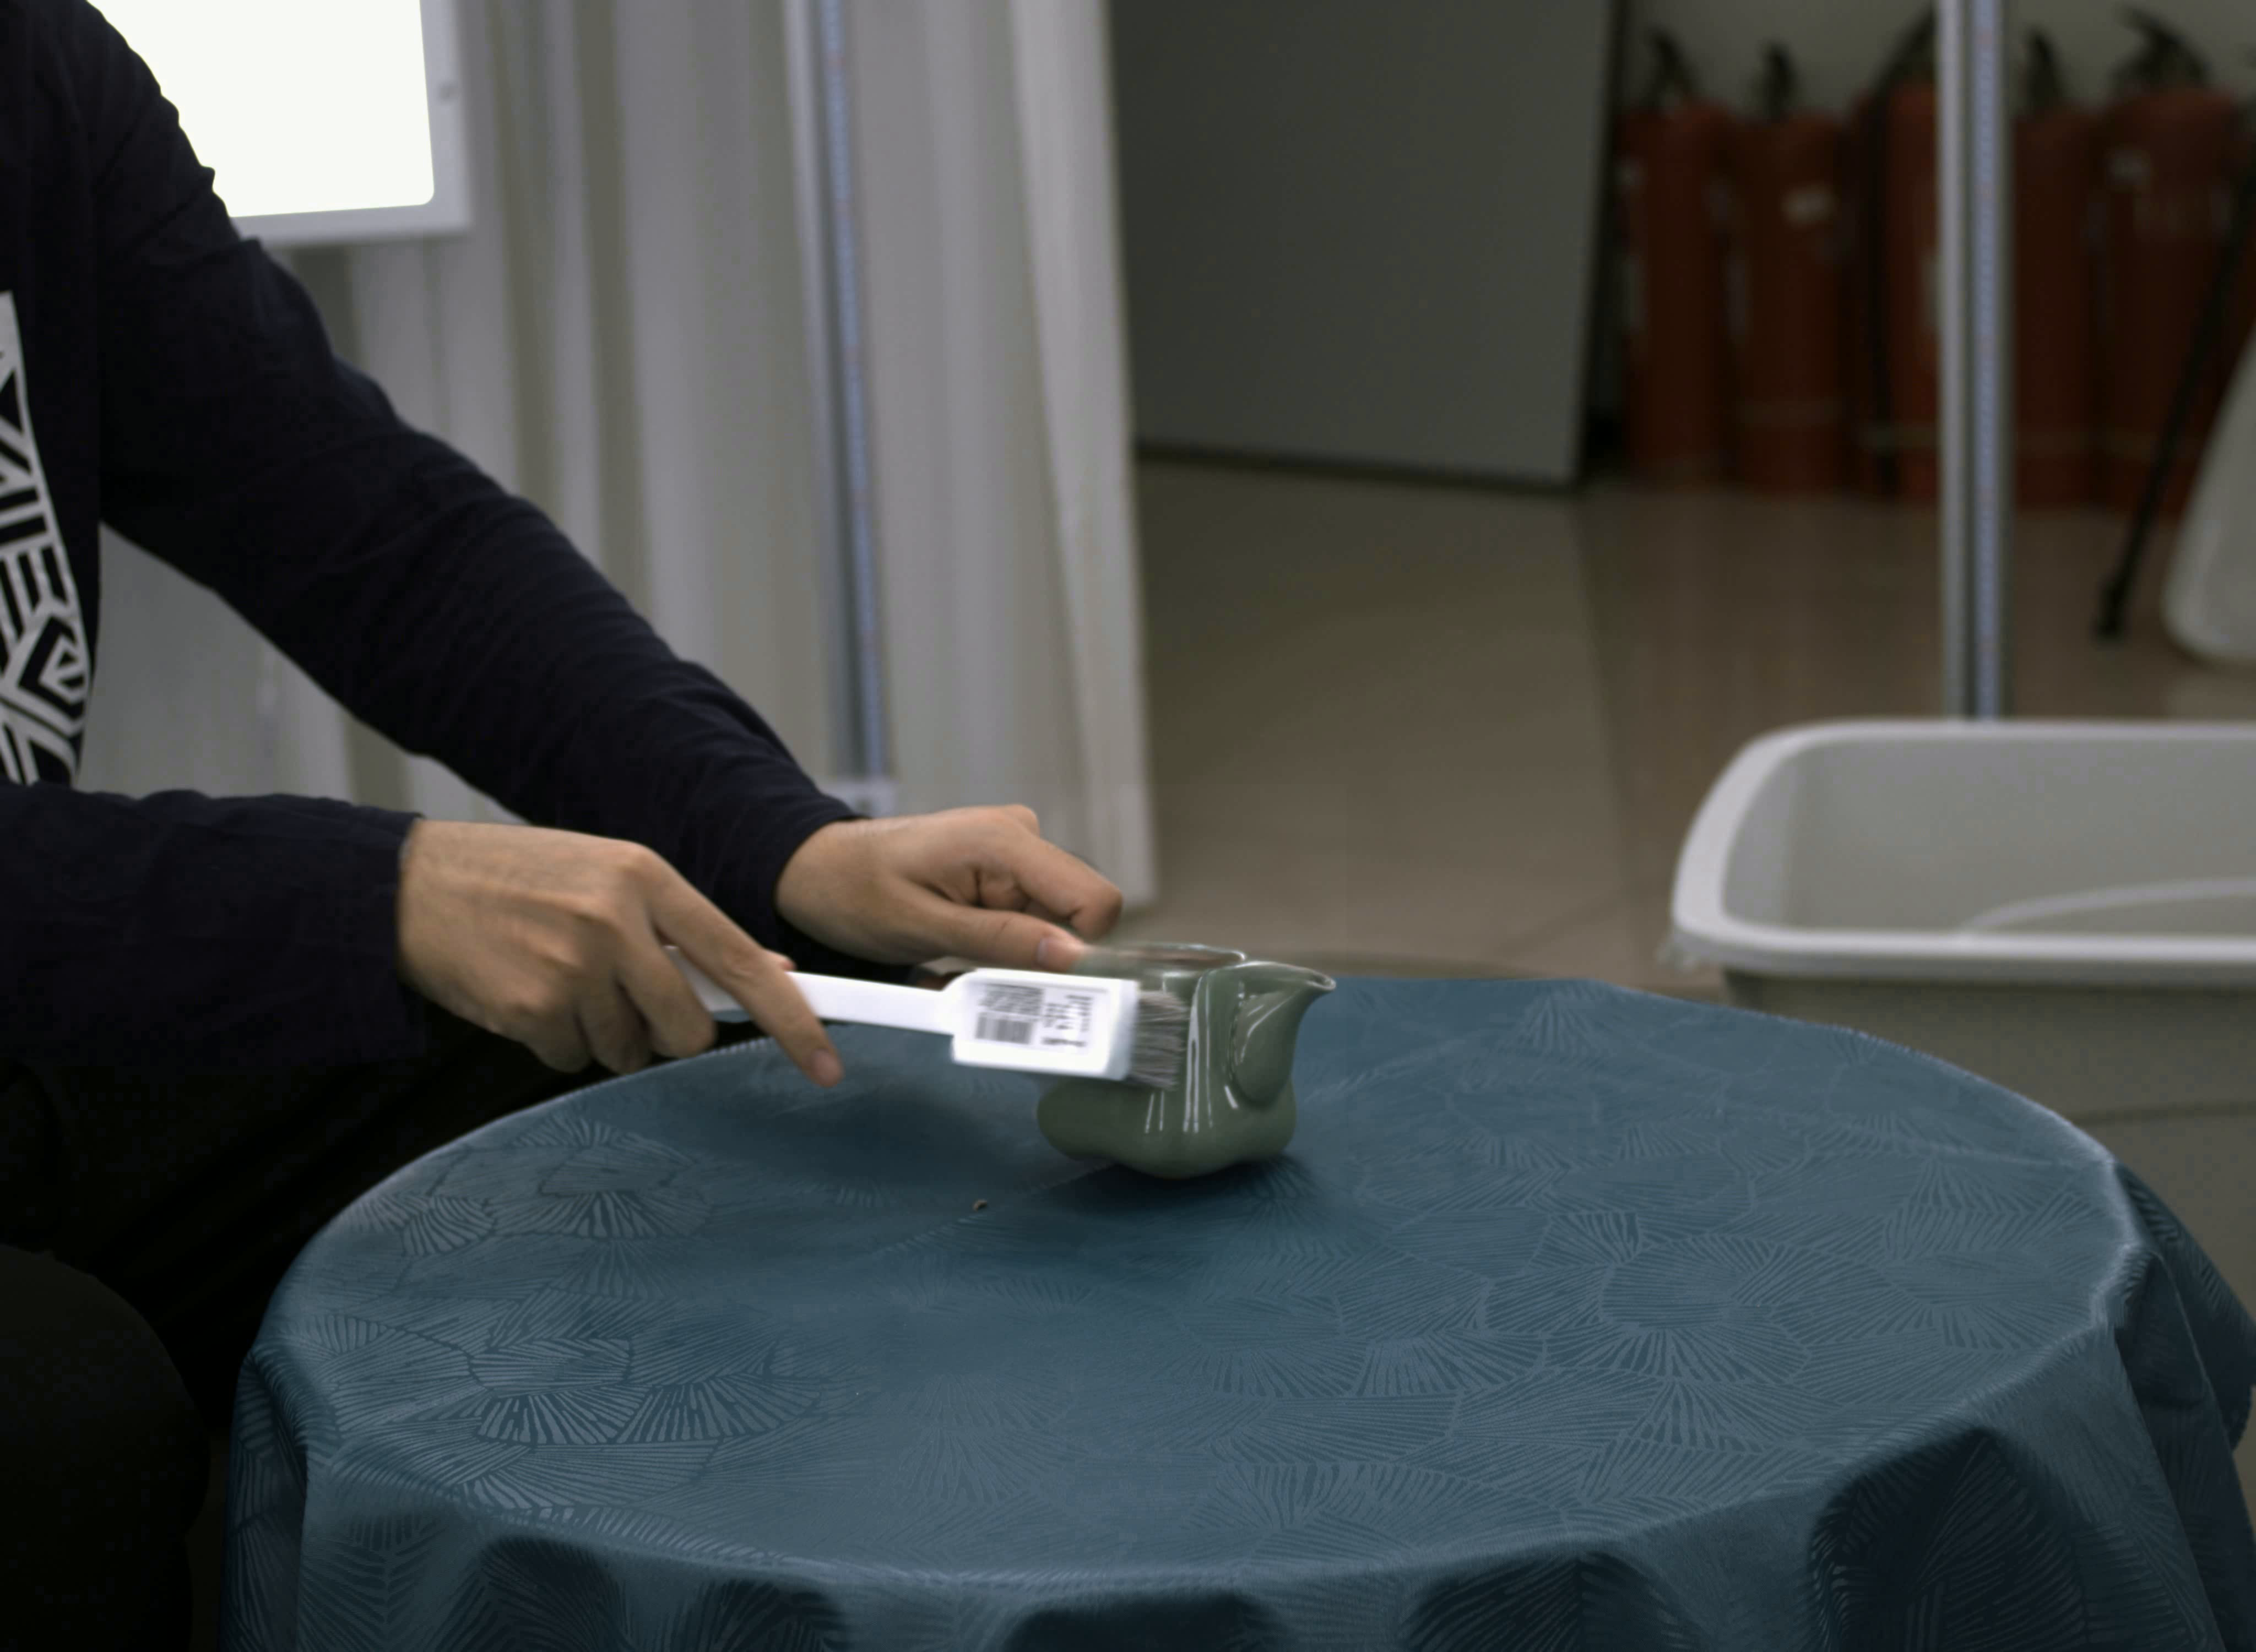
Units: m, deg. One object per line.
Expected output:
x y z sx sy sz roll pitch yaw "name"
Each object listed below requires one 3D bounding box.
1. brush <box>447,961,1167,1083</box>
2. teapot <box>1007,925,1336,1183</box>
-0.105 0.062 1.772 0.243 0.035 0.050 2 -4 18 "brush"
0.013 0.076 1.789 0.133 0.076 0.078 7 7 37 "teapot"
